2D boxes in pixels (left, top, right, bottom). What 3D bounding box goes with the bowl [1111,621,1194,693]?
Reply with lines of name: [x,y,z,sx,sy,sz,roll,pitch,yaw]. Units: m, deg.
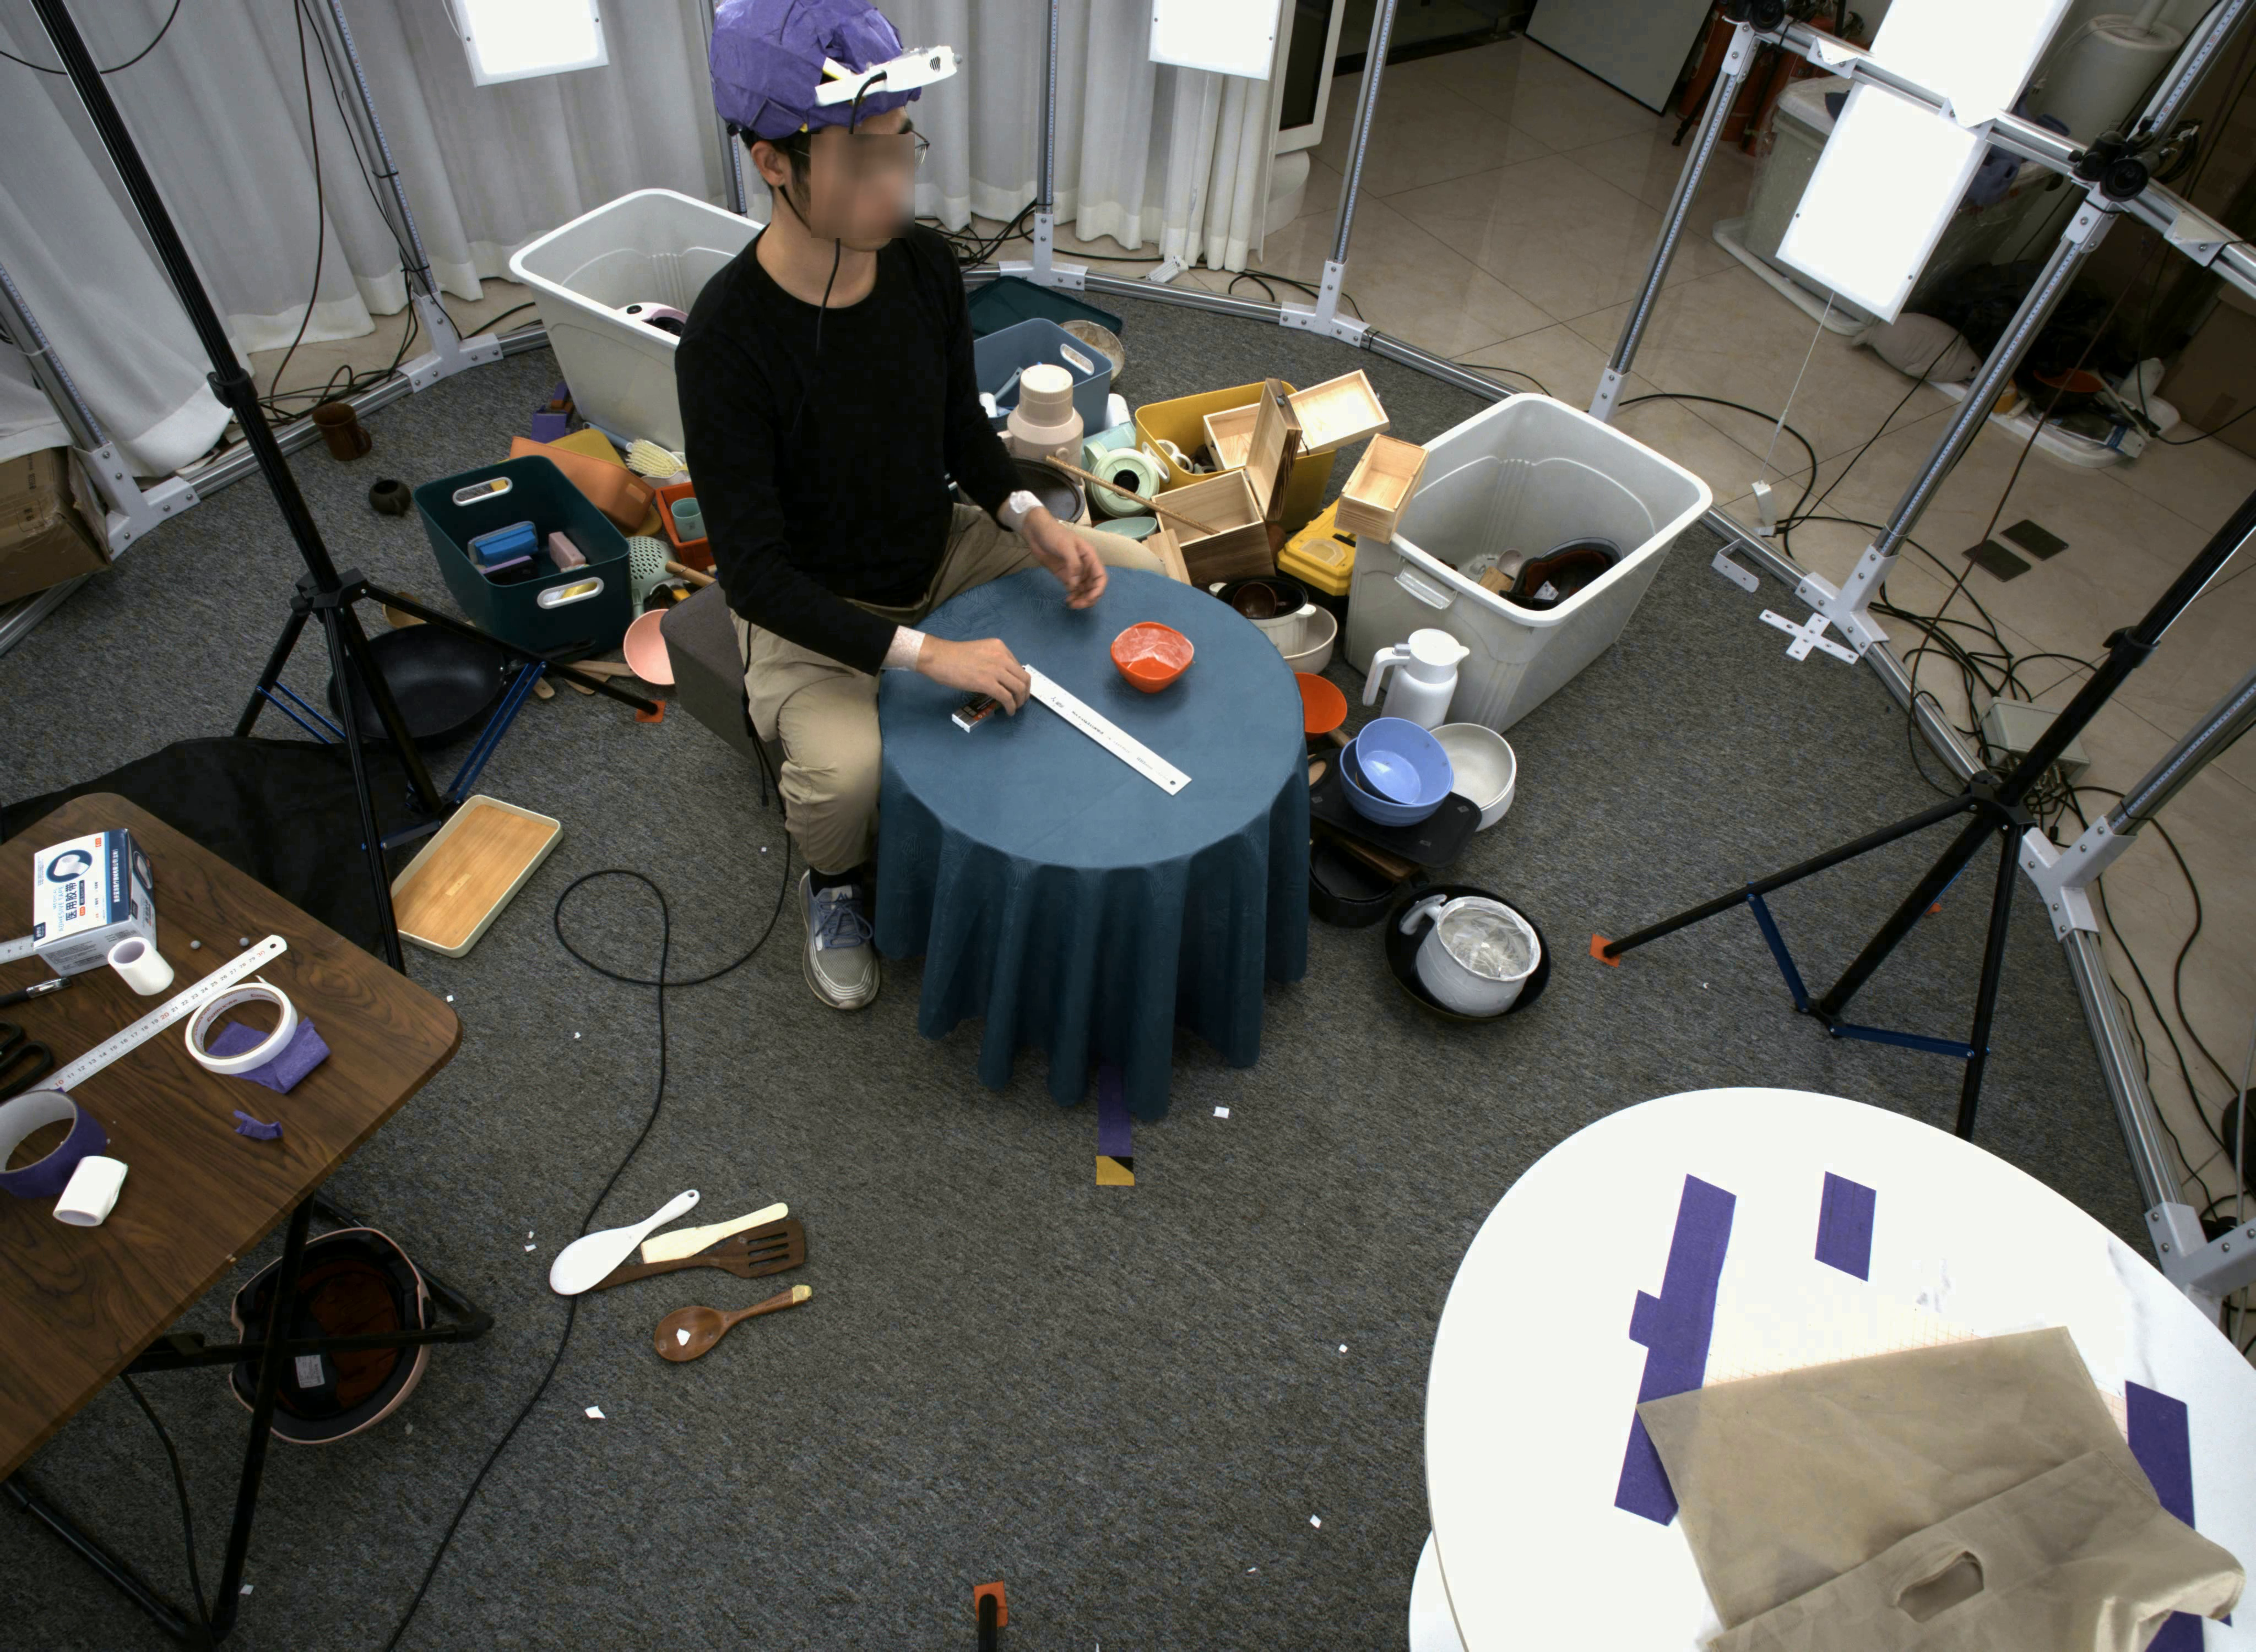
bowl: [0.034,-0.236,1.843,0.119,0.050,0.122,2,51,-2]

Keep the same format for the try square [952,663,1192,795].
try square: [-0.079,-0.108,1.755,0.317,0.015,0.154,37,58,24]
